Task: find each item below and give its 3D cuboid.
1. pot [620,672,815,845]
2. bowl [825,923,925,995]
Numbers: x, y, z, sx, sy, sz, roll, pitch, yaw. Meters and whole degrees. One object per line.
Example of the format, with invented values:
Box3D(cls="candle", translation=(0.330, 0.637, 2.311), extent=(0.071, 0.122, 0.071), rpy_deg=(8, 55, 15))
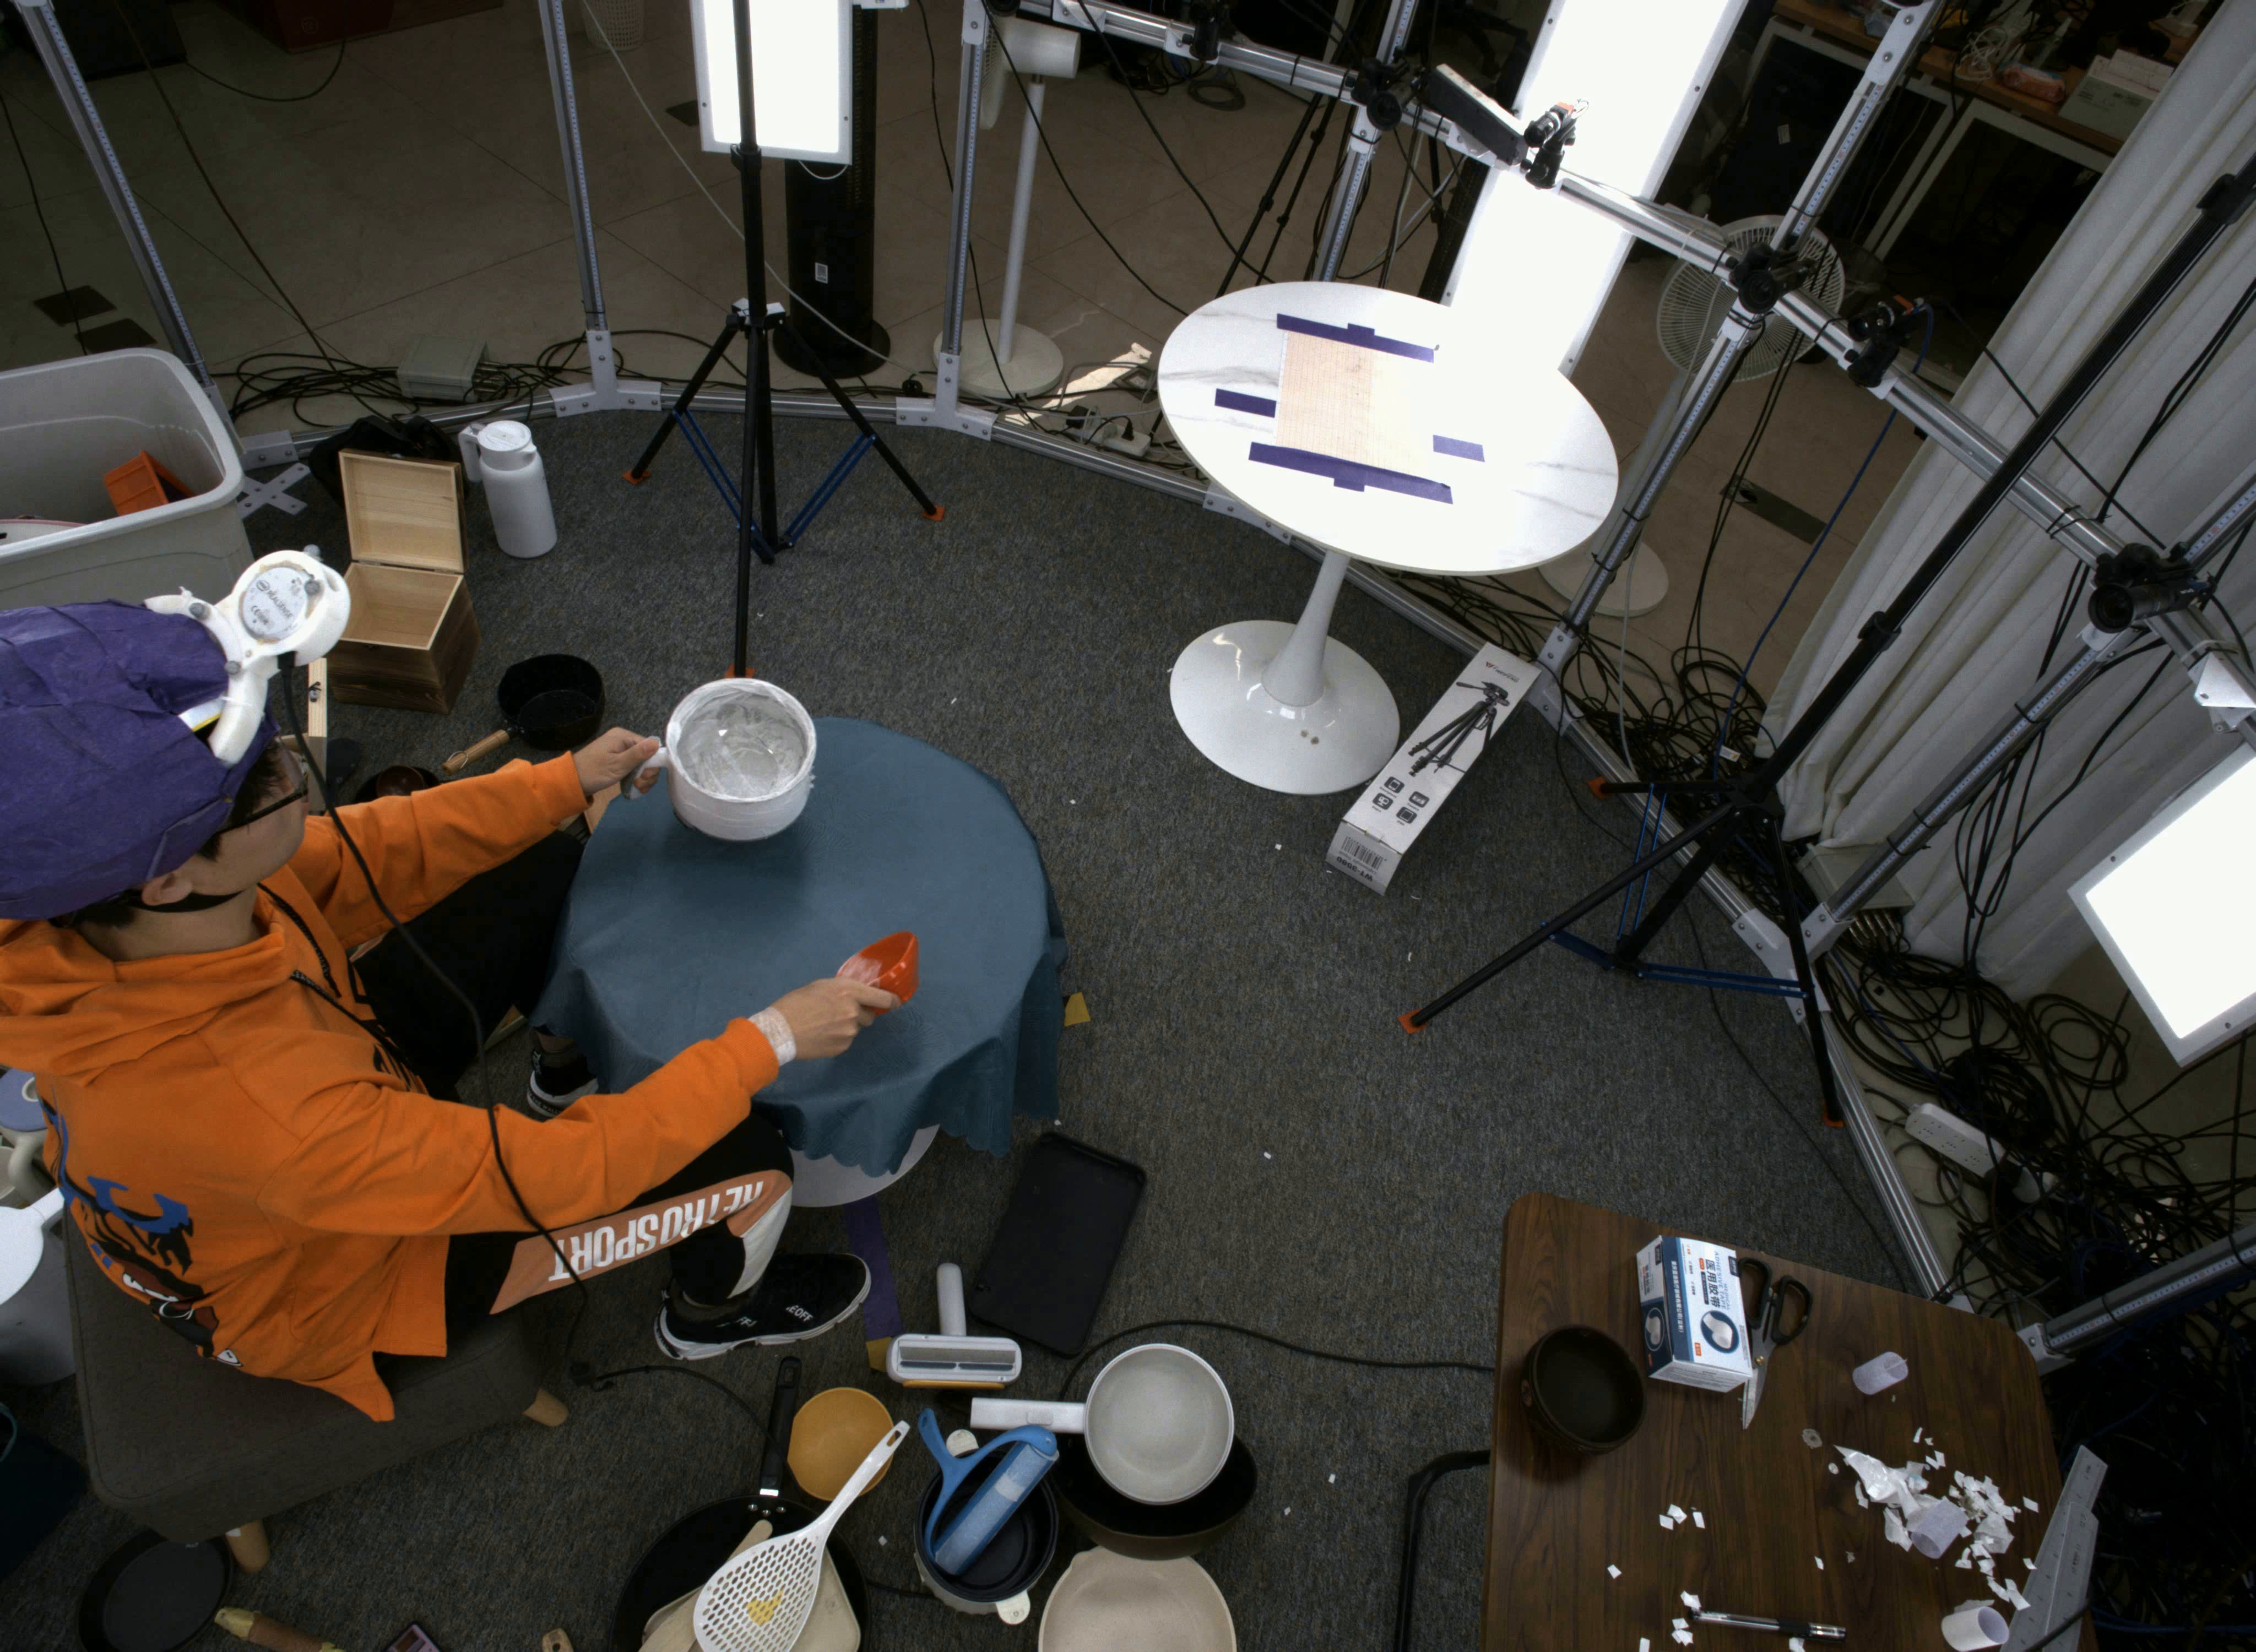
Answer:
Box3D(cls="pot", translation=(-0.506, -0.076, 1.582), extent=(0.235, 0.138, 0.176), rpy_deg=(-5, 63, -23))
Box3D(cls="bowl", translation=(-0.287, 0.156, 1.507), extent=(0.117, 0.053, 0.117), rpy_deg=(-14, 15, 5))
